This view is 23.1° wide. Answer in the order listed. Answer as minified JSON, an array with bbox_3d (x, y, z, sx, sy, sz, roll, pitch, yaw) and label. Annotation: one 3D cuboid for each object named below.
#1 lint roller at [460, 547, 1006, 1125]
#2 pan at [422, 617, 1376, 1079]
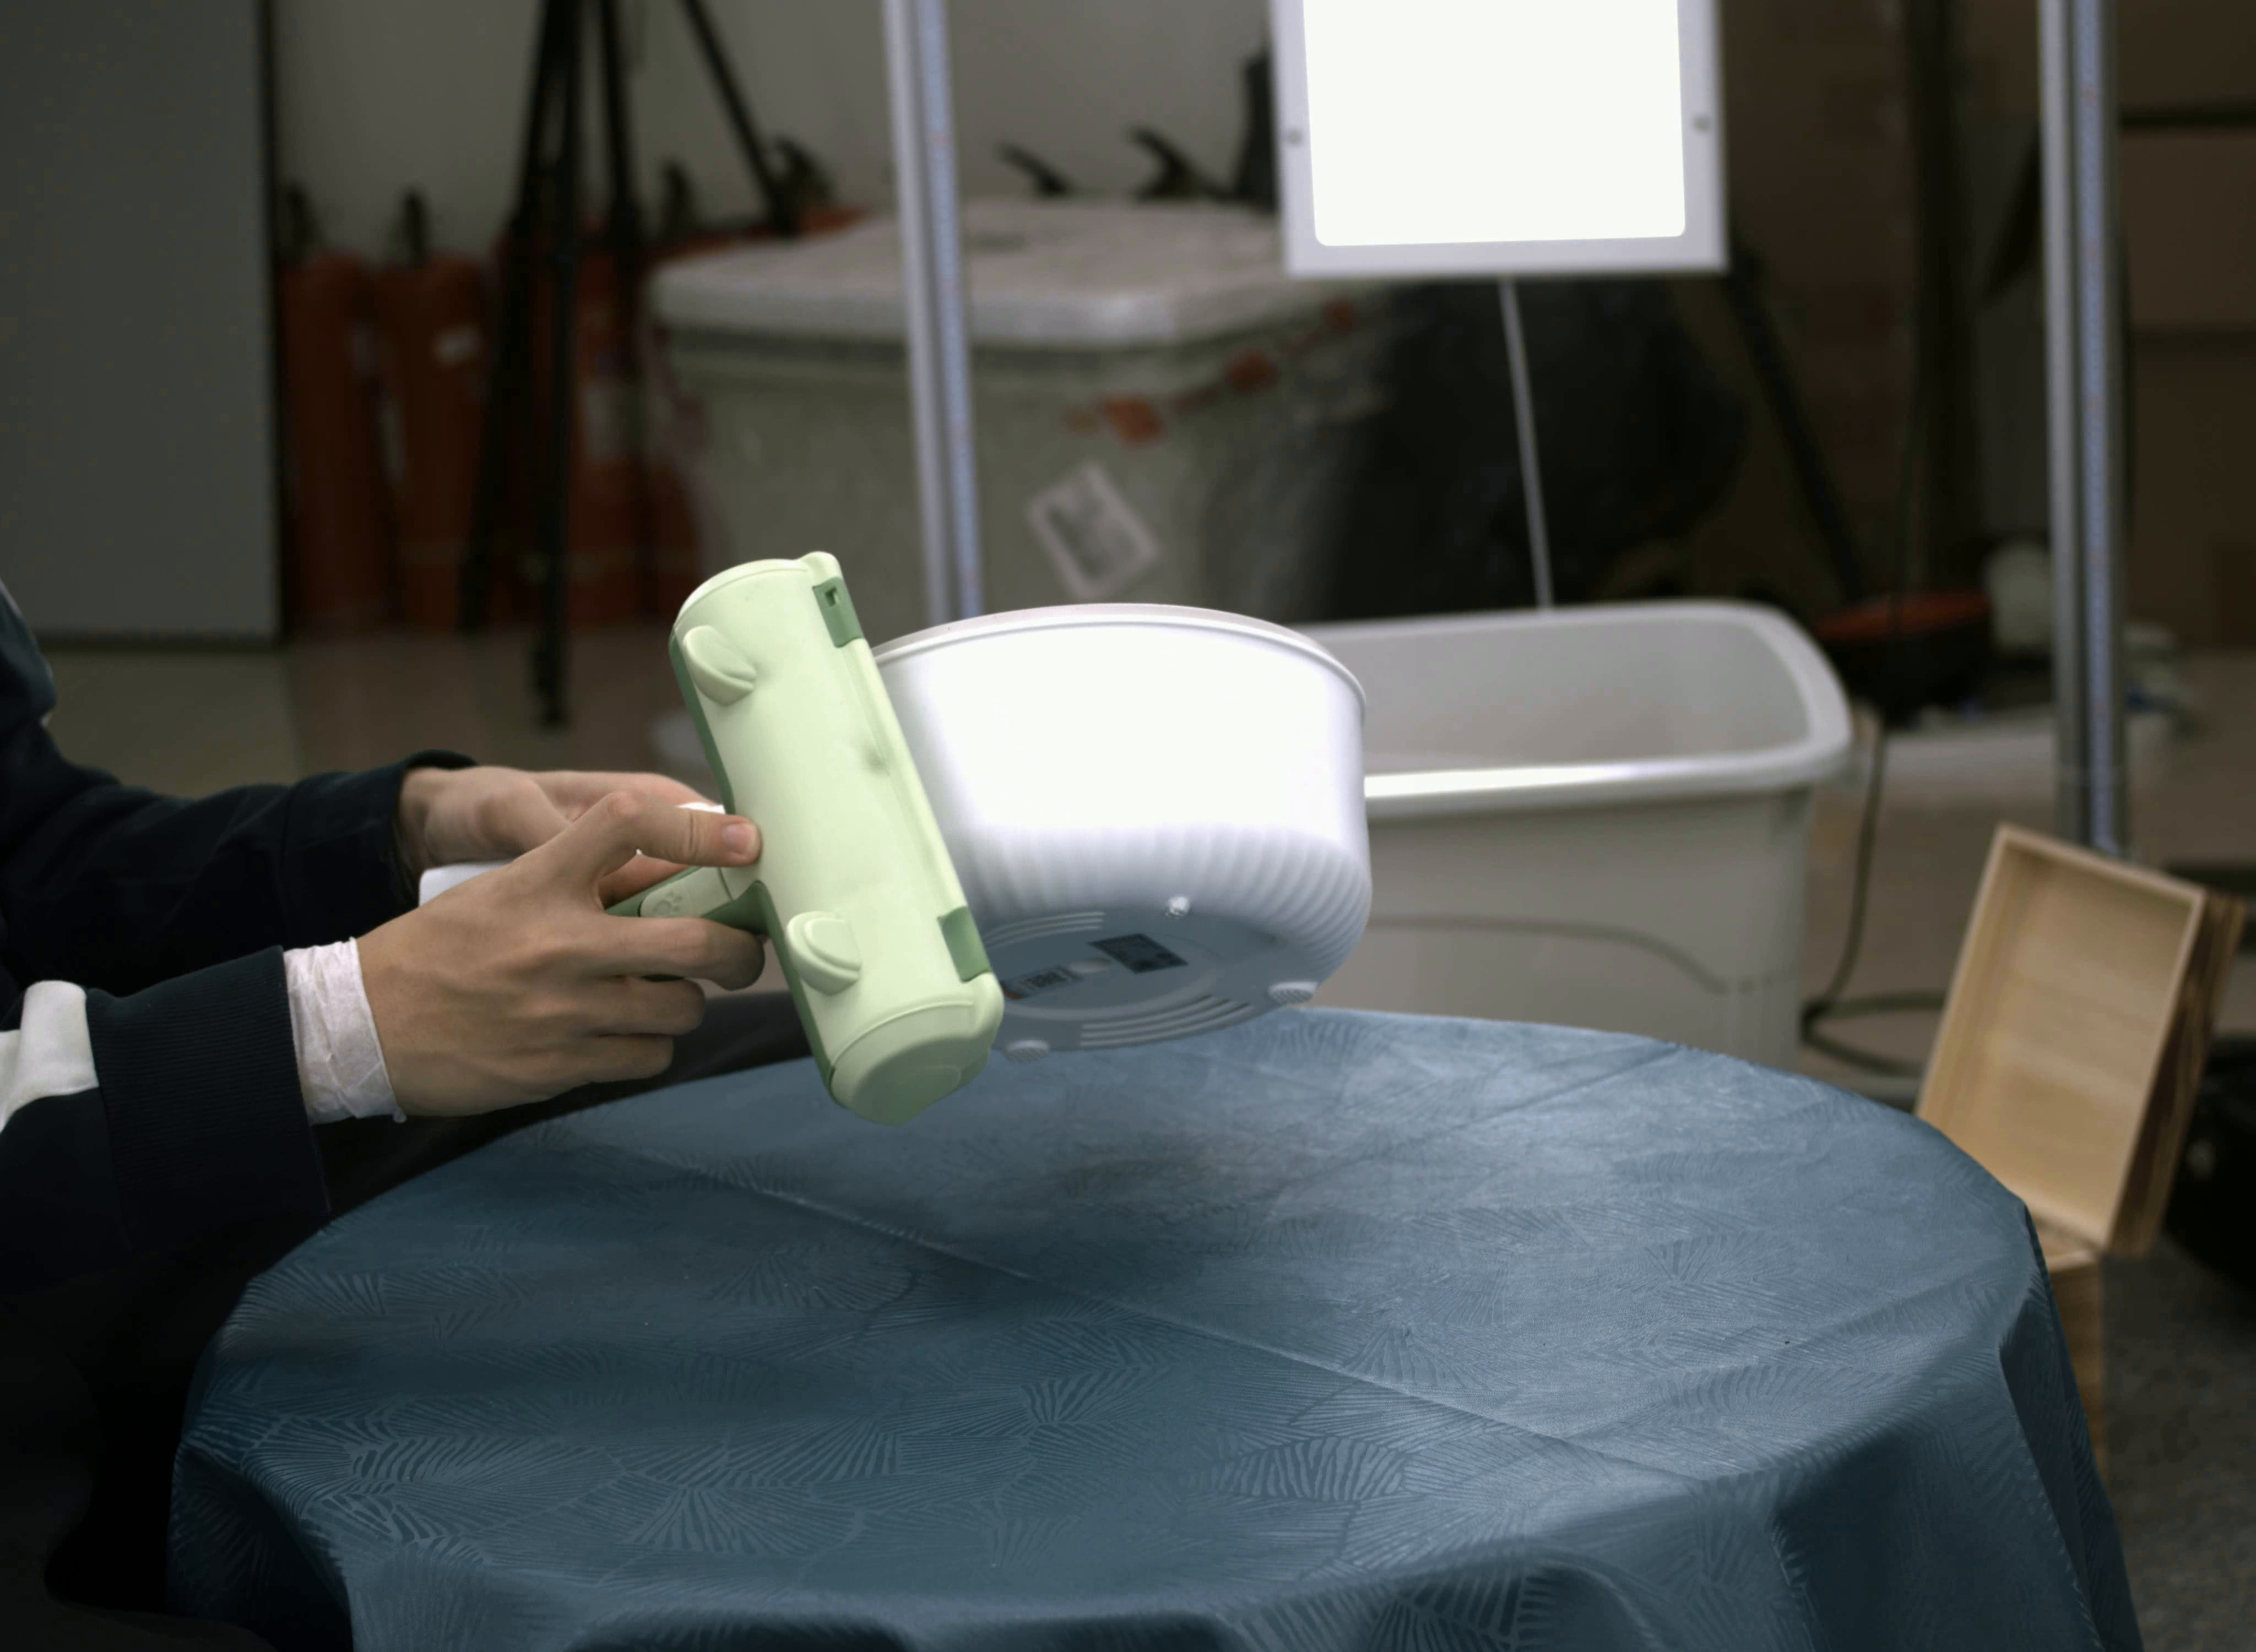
[{"bbox_3d":[-0.148,0.024,1.779,0.184,0.200,0.081,-27,-31,9],"label":"lint roller"},{"bbox_3d":[-0.083,0.031,1.897,0.360,0.102,0.198,-15,-22,23],"label":"pan"}]
